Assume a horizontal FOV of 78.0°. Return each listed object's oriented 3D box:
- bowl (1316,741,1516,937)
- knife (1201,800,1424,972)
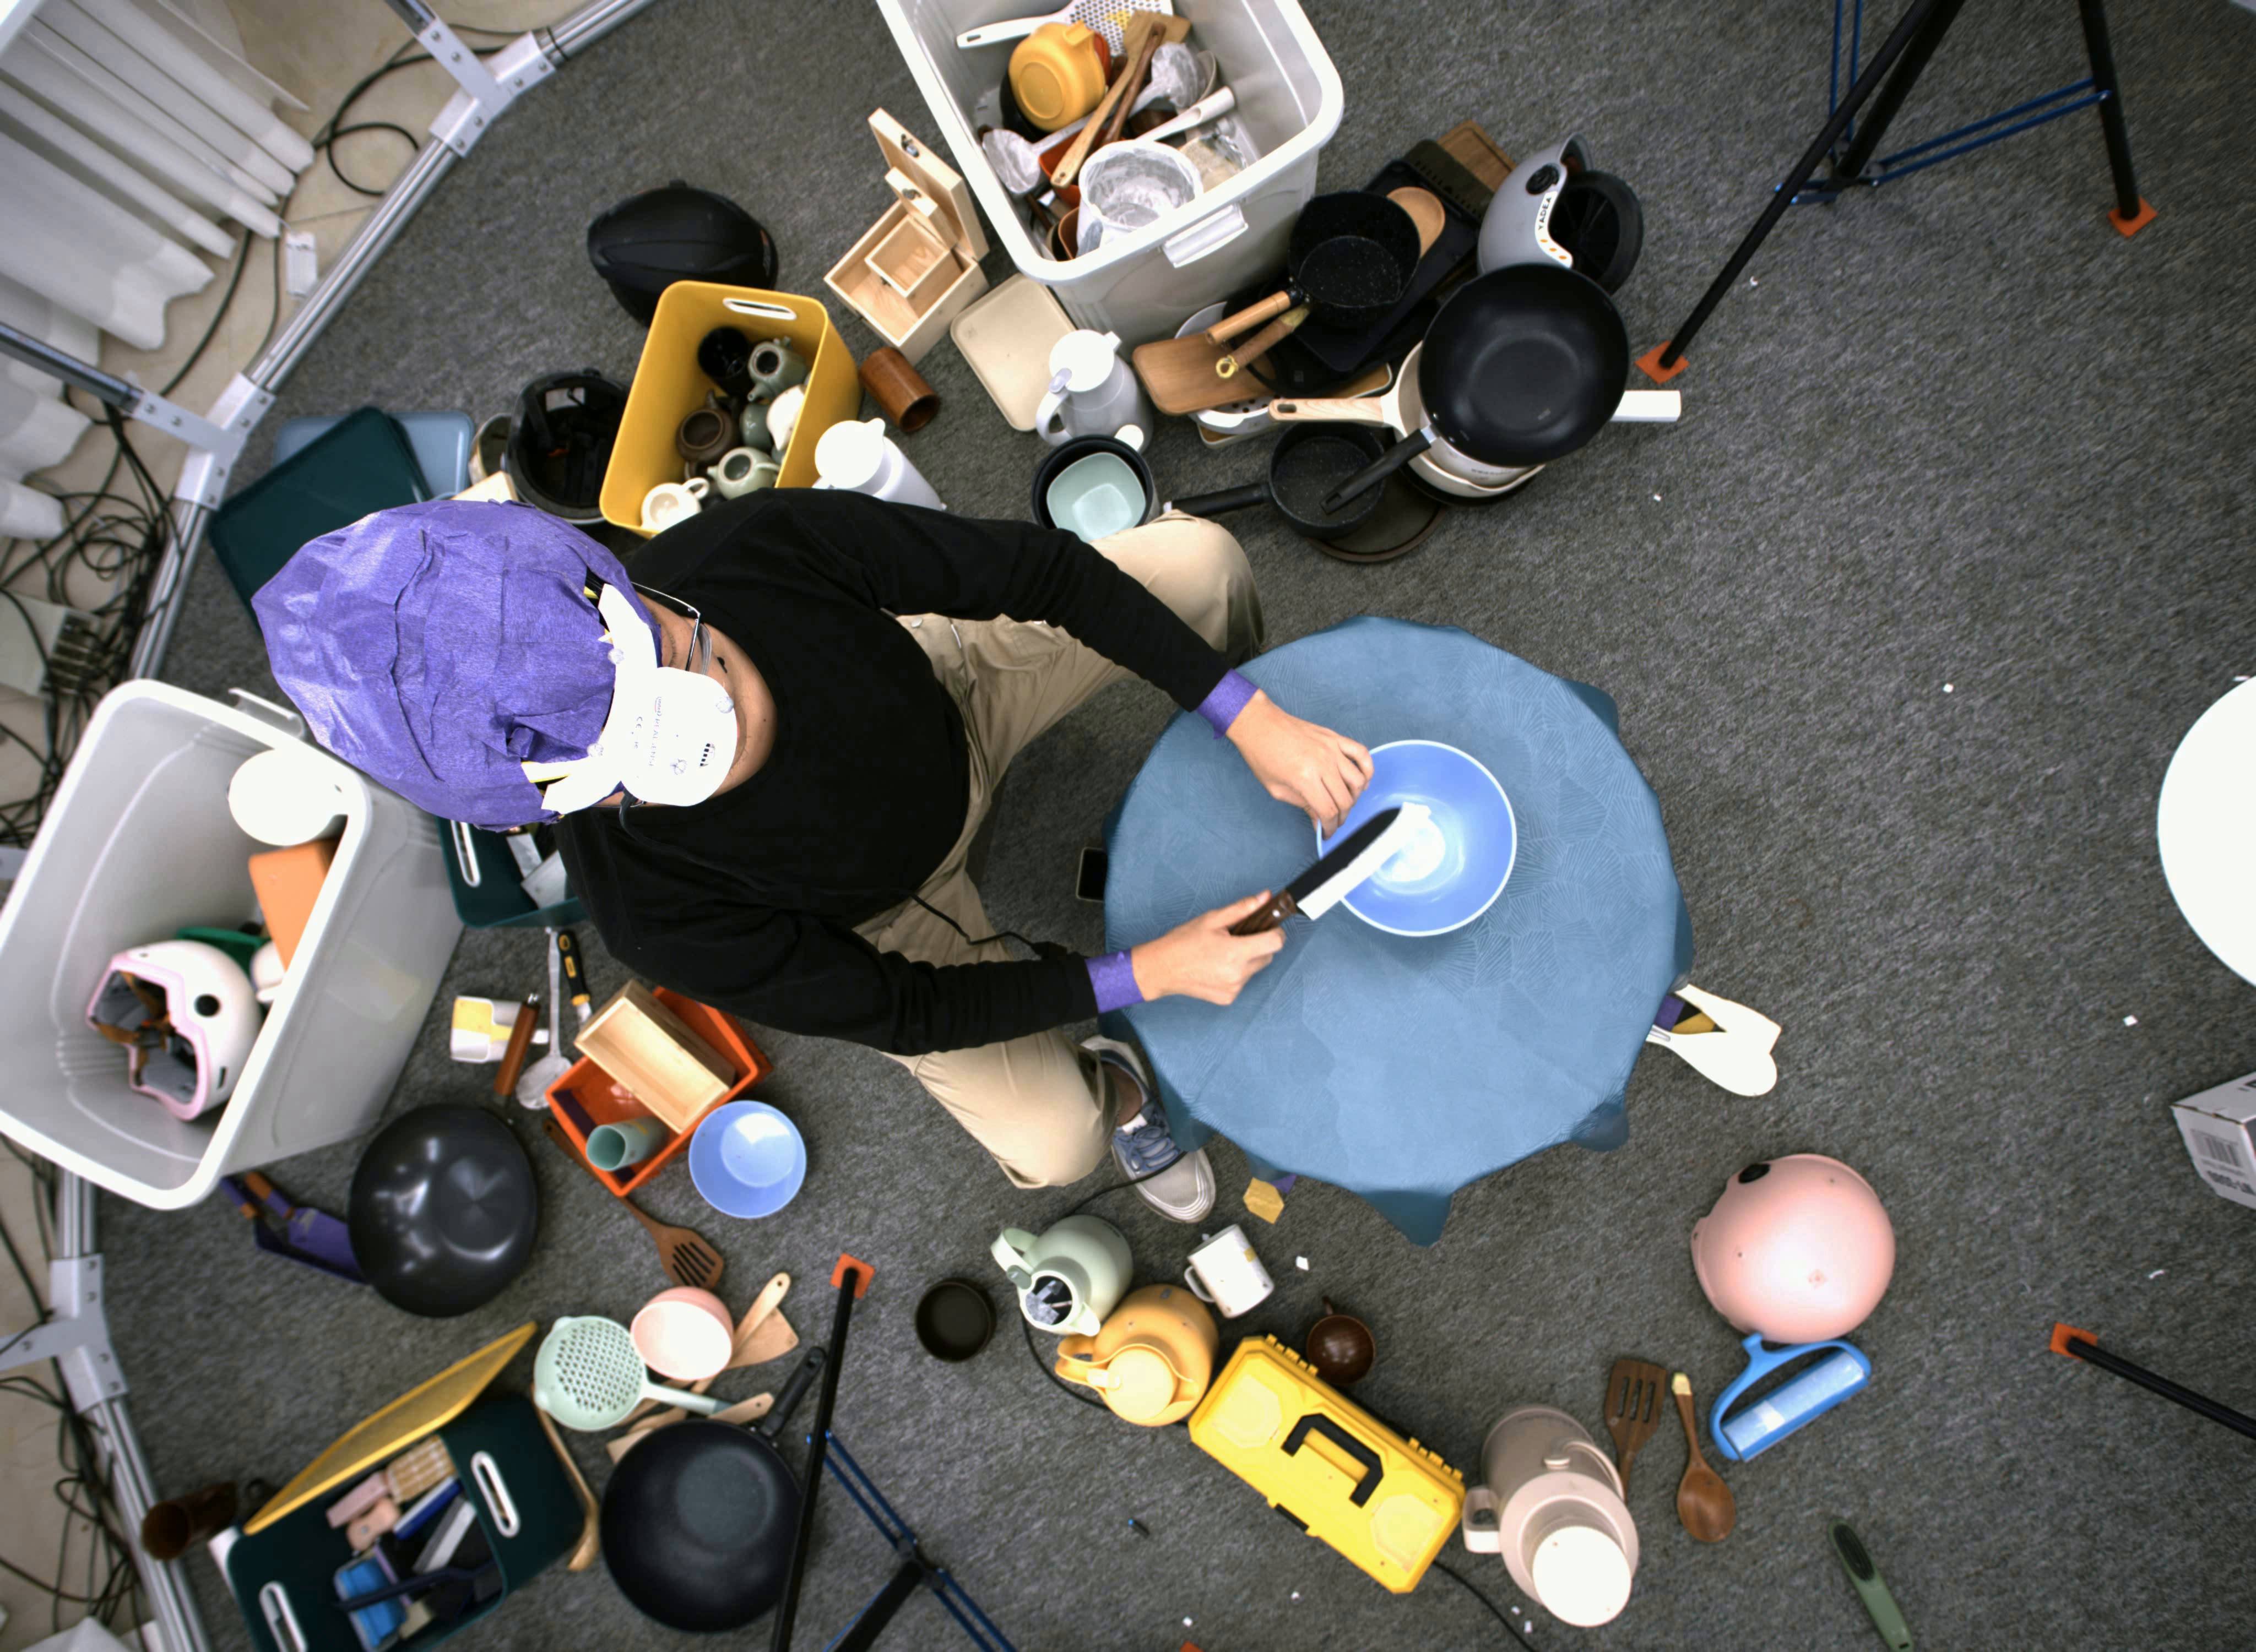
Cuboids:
[{"bbox_3d":[0.291,0.017,1.411,0.197,0.096,0.195,-1,84,9],"label":"bowl"},{"bbox_3d":[0.179,0.060,1.371,0.050,0.019,0.294,43,119,-12],"label":"knife"}]
